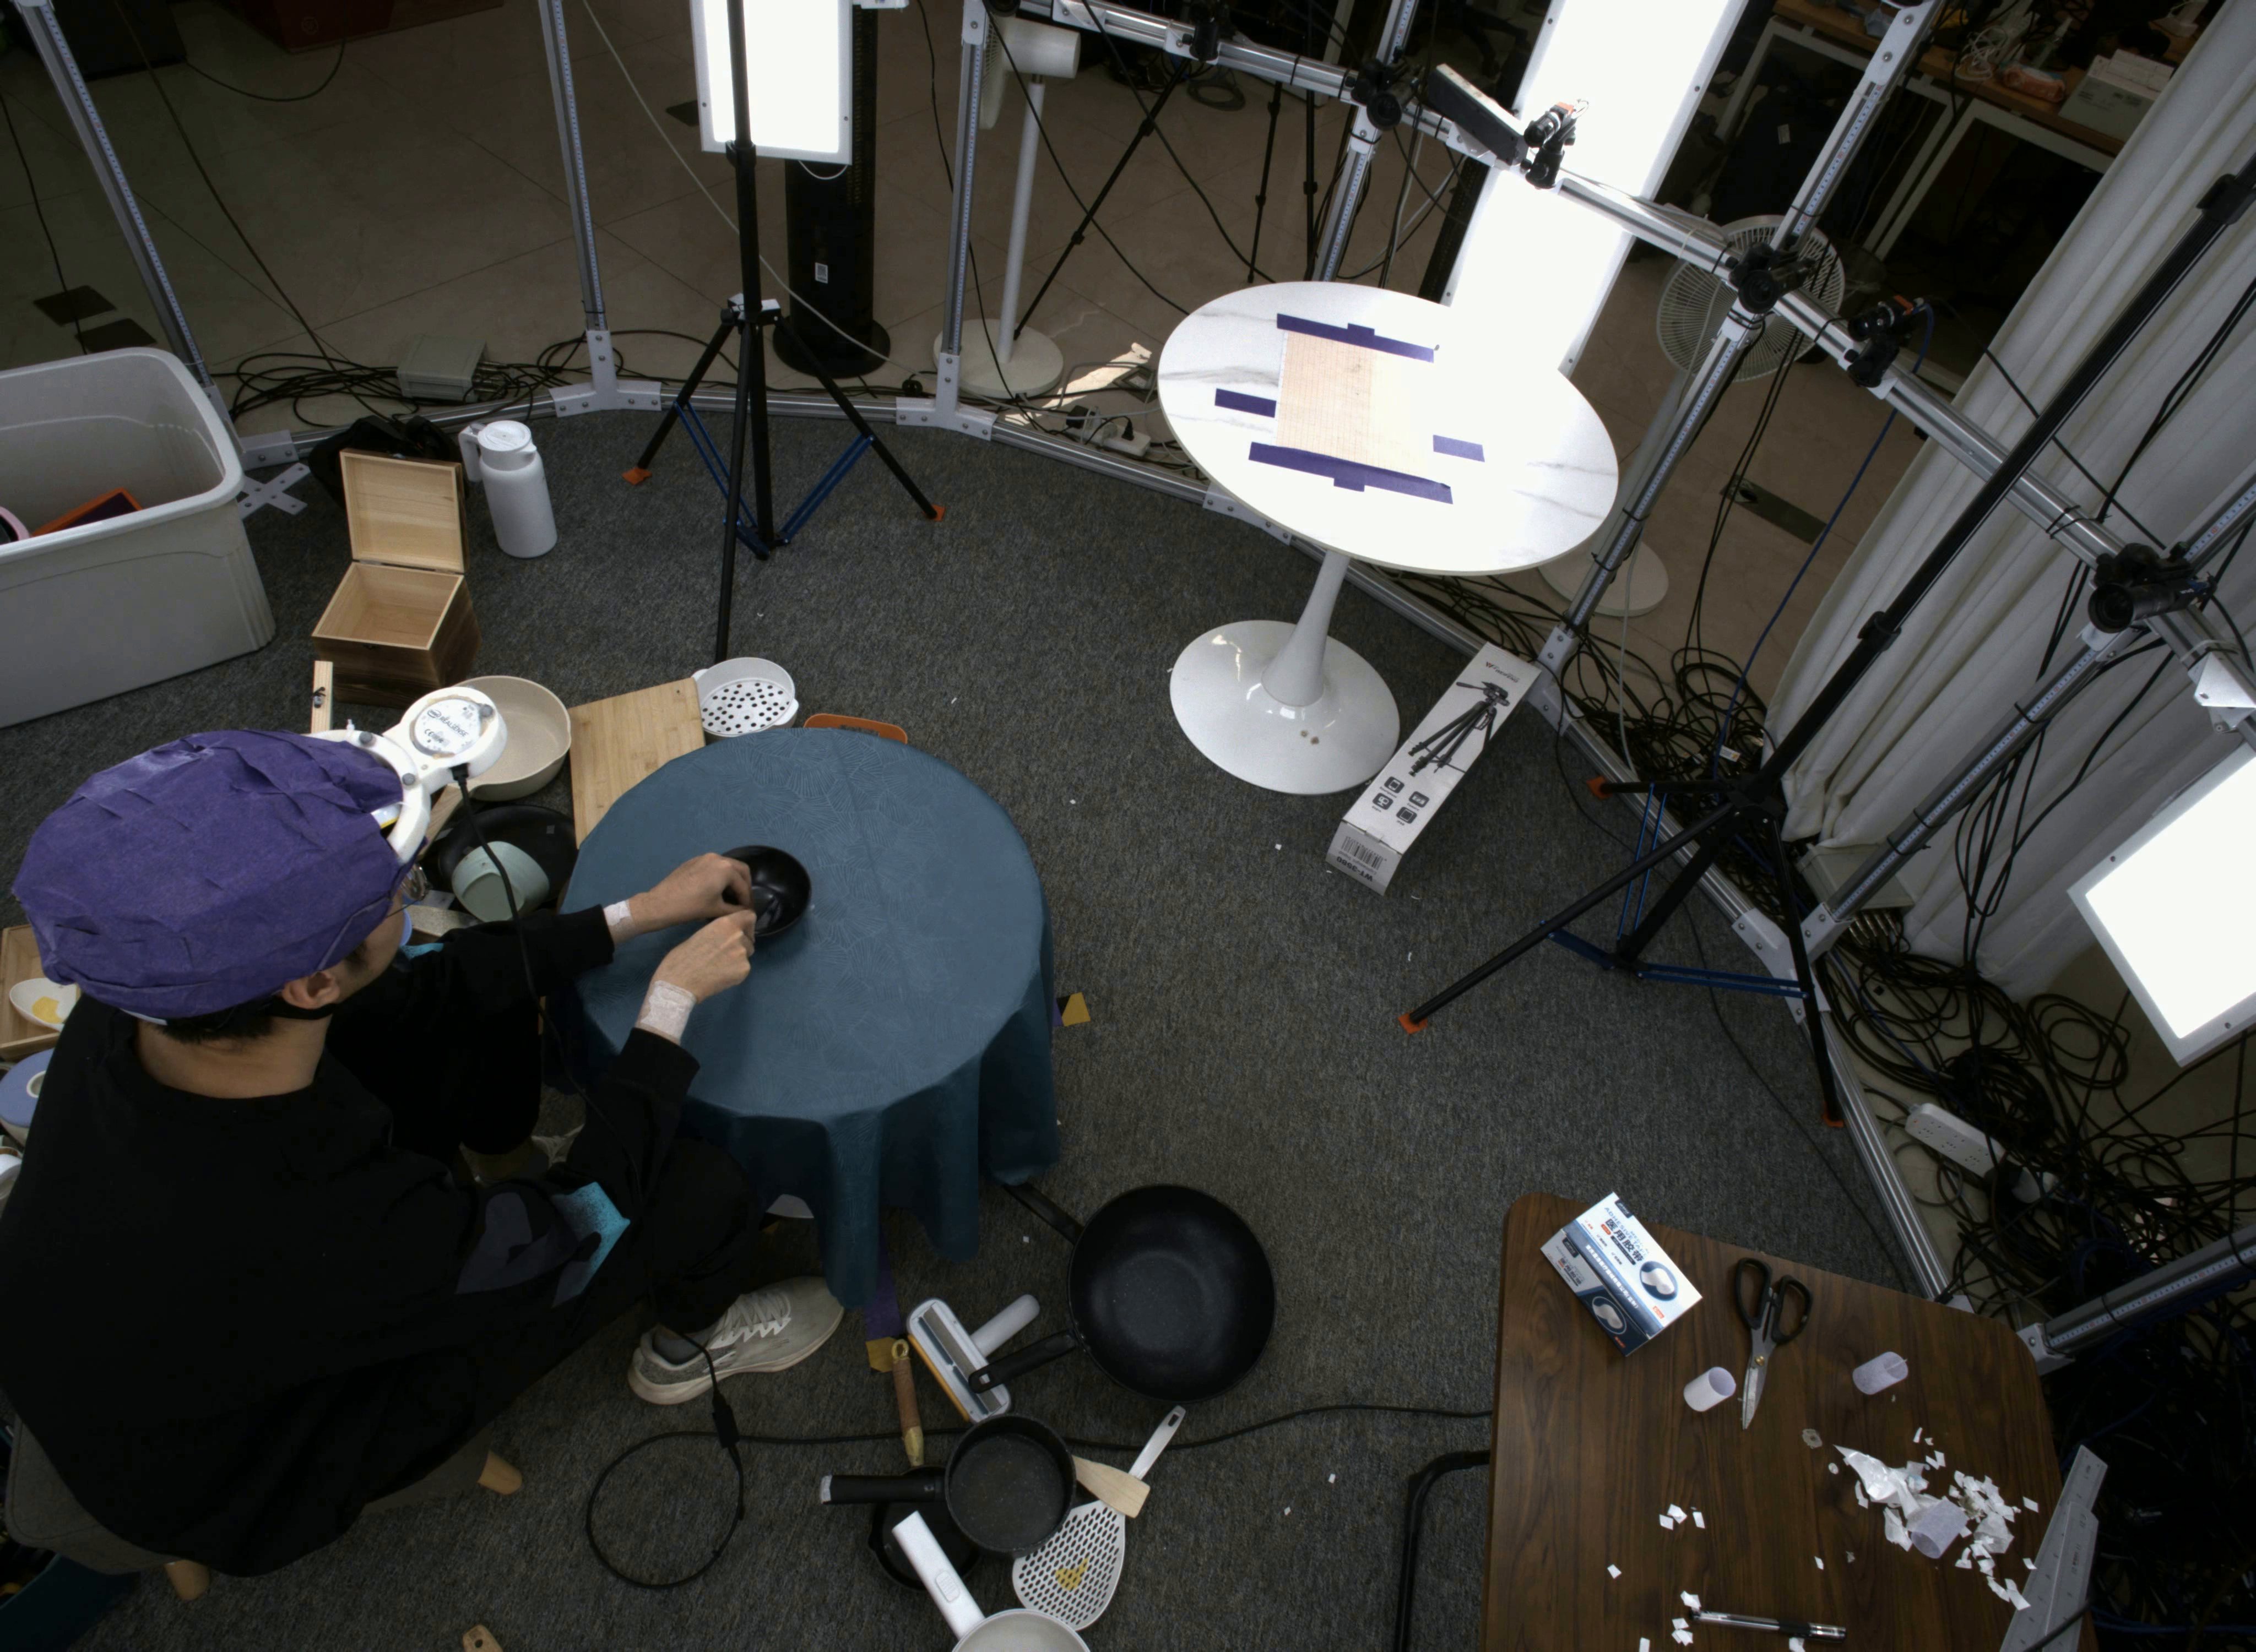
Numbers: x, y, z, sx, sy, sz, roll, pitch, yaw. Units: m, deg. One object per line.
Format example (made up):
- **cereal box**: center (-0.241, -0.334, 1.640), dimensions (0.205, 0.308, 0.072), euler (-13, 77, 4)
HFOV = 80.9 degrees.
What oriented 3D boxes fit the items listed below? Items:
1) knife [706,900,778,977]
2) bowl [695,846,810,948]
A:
- **knife**: center (-0.452, 0.123, 1.531), dimensions (0.017, 0.026, 0.223), euler (24, 19, -3)
- **bowl**: center (-0.464, 0.094, 1.604), dimensions (0.139, 0.050, 0.138), euler (7, 57, -8)
